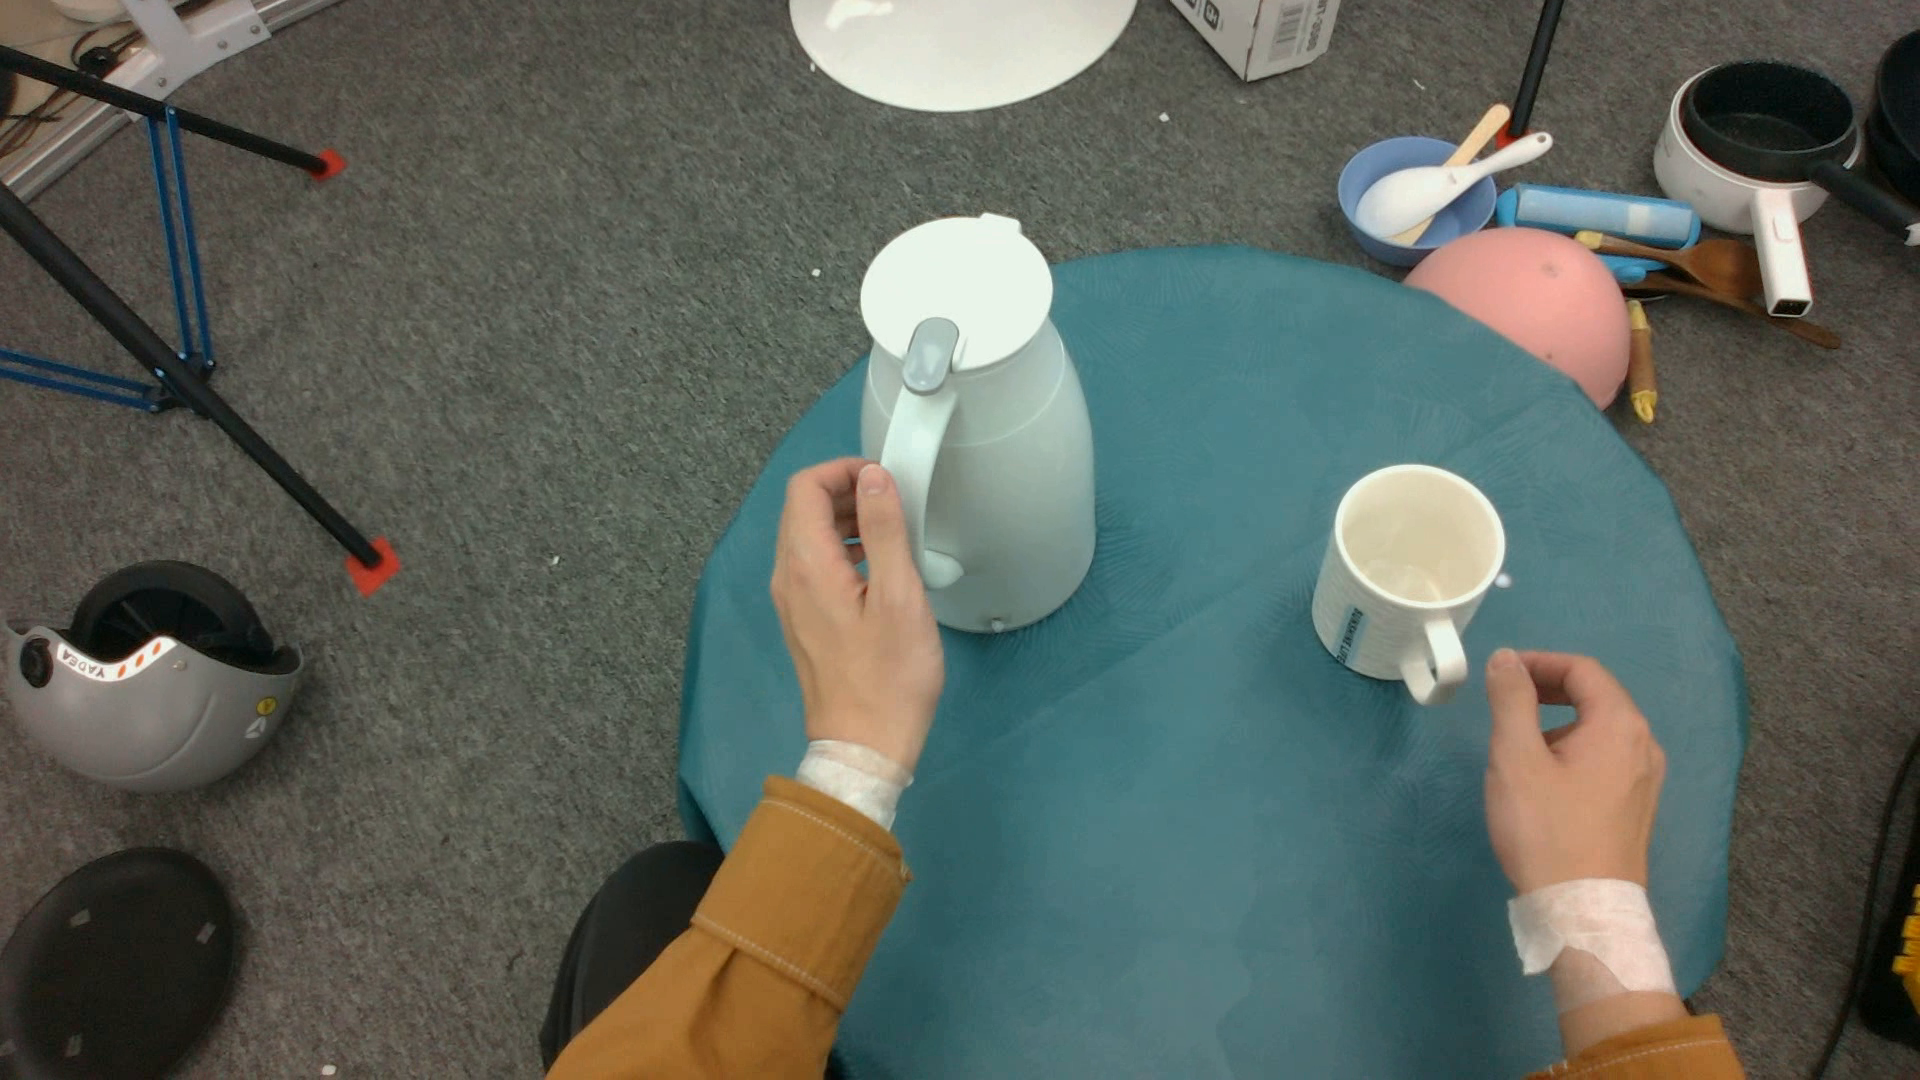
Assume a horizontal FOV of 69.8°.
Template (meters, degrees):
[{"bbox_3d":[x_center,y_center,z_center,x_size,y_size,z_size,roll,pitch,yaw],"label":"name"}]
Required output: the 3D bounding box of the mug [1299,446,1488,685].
[{"bbox_3d":[0.240,0.024,0.760,0.085,0.101,0.118,-11,60,-1],"label":"mug"}]

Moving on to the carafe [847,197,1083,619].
[{"bbox_3d":[-0.004,-0.052,0.740,0.132,0.247,0.168,14,64,12],"label":"carafe"}]
